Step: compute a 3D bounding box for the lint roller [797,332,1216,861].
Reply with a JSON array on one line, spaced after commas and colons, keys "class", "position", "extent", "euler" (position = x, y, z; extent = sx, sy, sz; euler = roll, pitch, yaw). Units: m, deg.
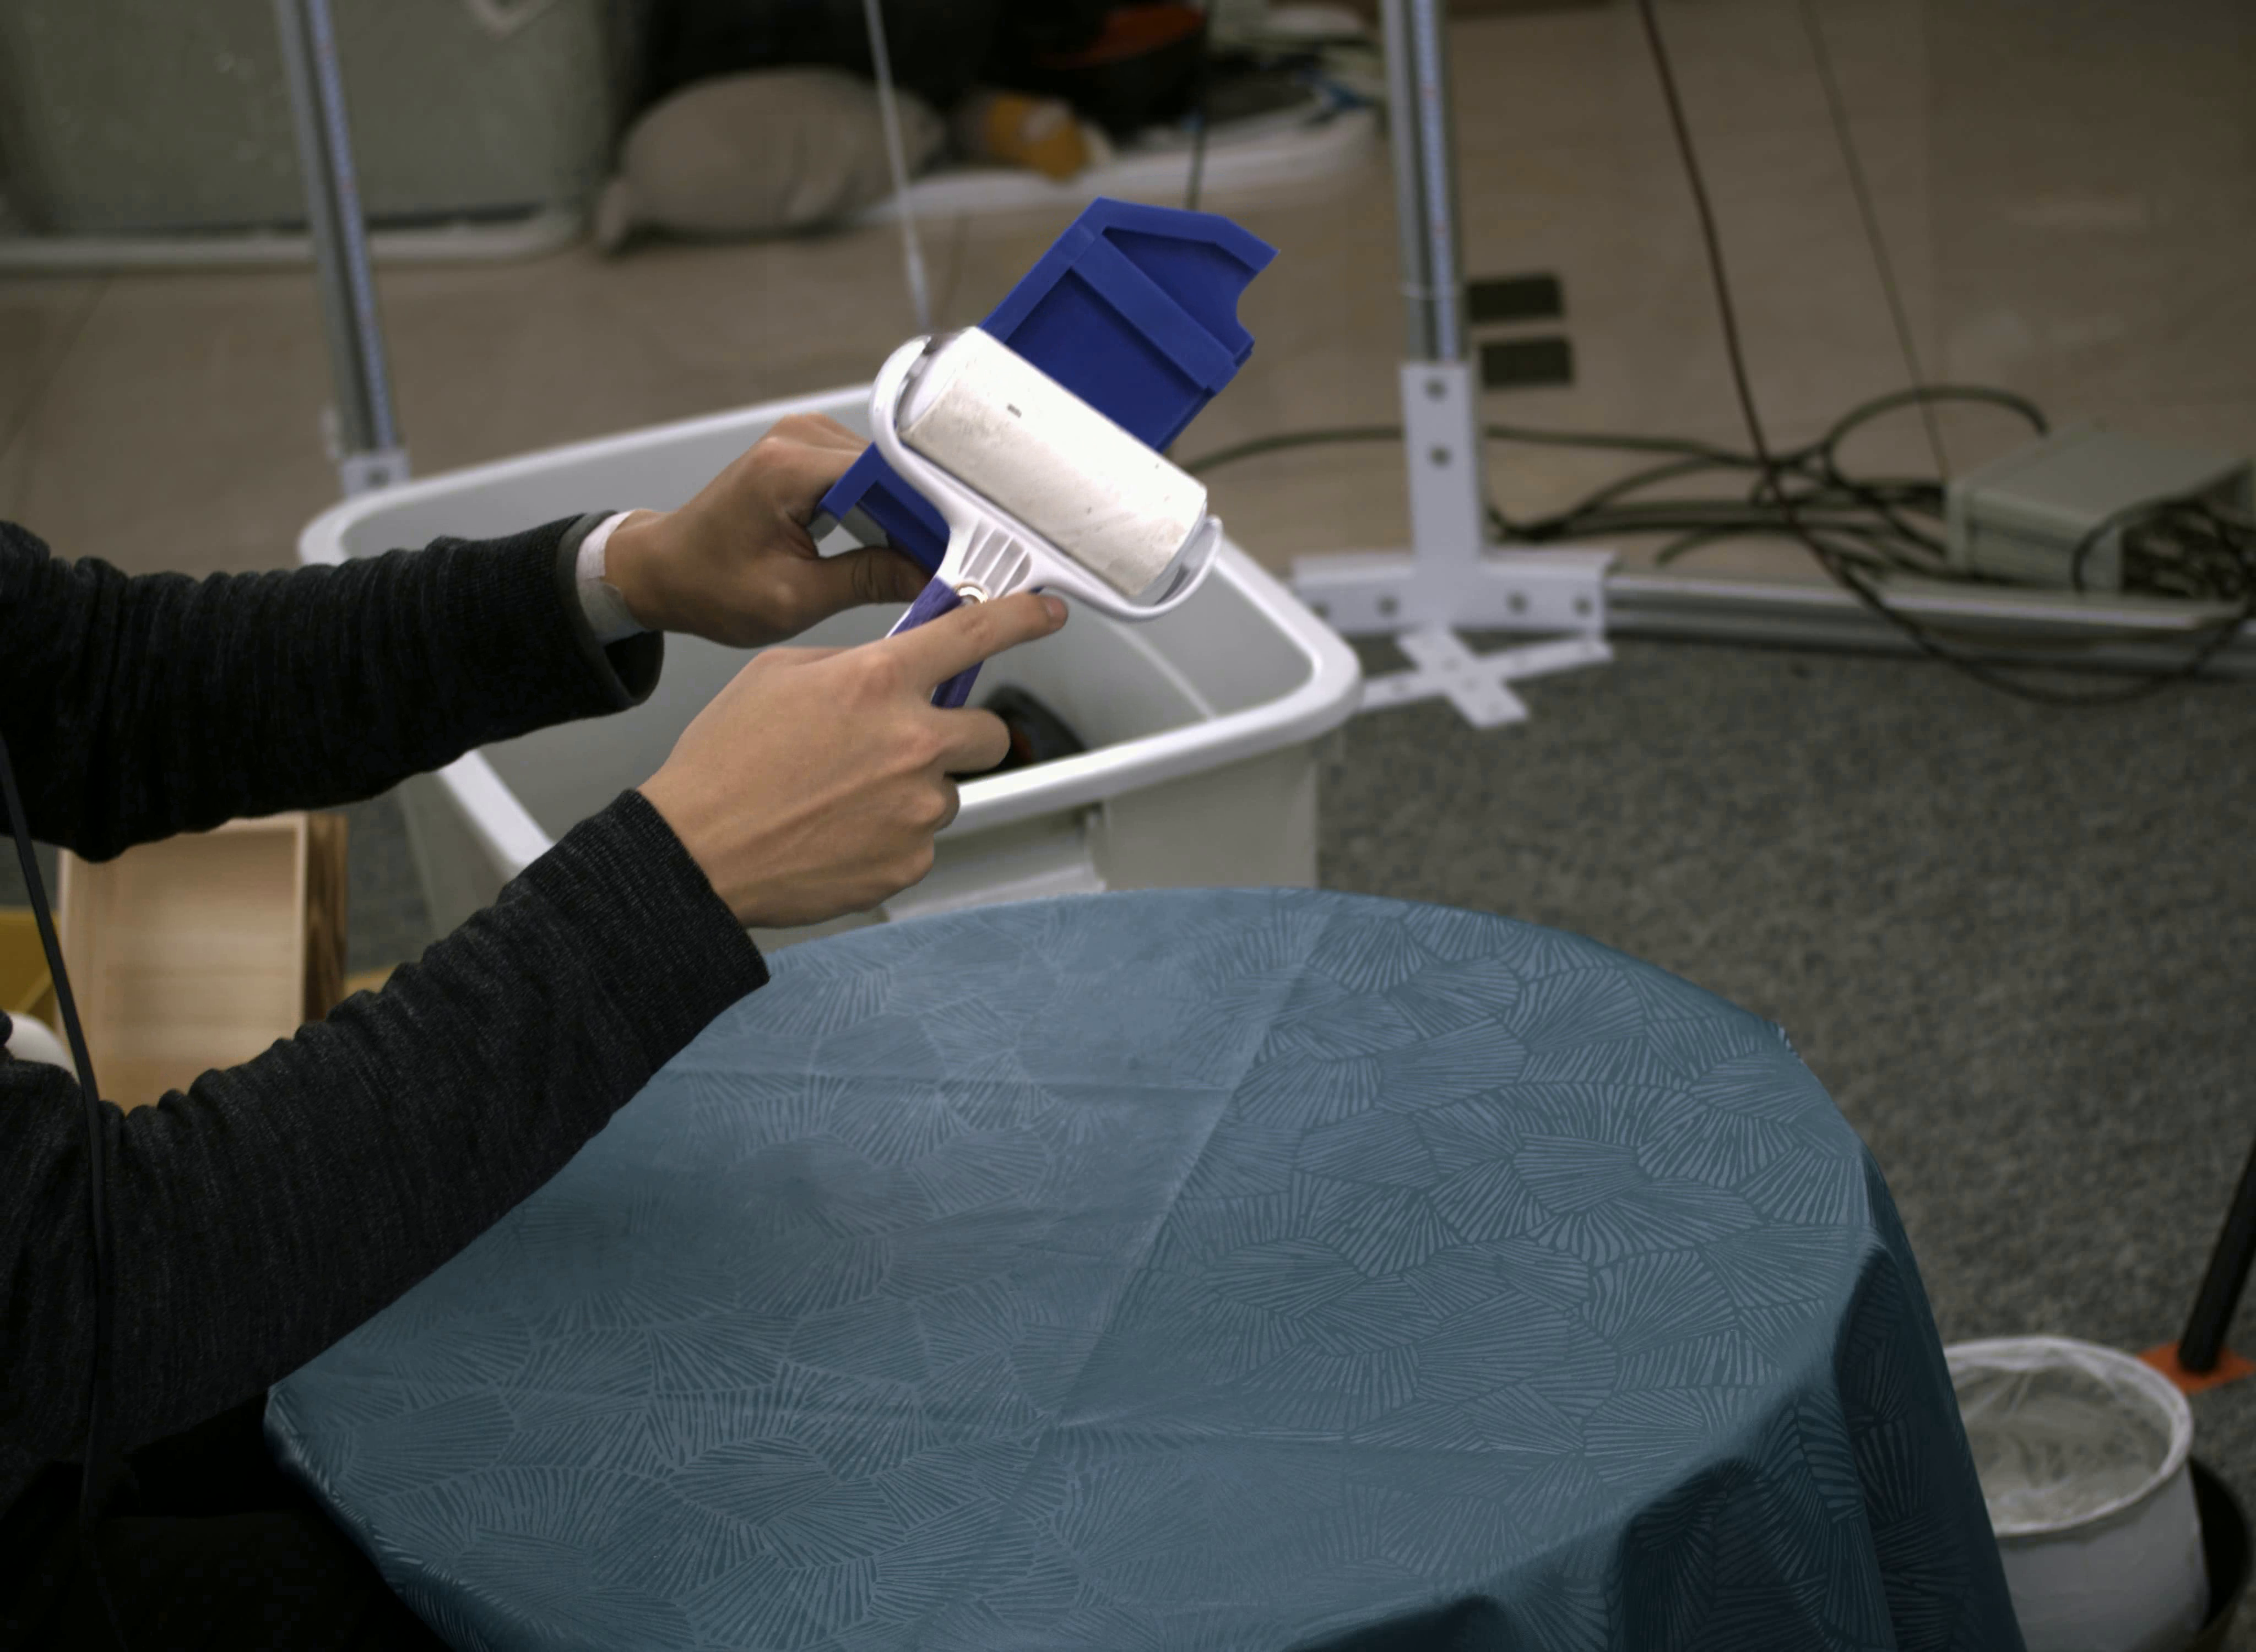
[{"class": "lint roller", "position": [-0.059, -0.069, 1.915], "extent": [0.179, 0.134, 0.050], "euler": [-60, 17, -20]}]

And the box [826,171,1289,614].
[{"class": "box", "position": [-0.022, -0.164, 2.081], "extent": [0.179, 0.082, 0.124], "euler": [-51, 5, -3]}]
